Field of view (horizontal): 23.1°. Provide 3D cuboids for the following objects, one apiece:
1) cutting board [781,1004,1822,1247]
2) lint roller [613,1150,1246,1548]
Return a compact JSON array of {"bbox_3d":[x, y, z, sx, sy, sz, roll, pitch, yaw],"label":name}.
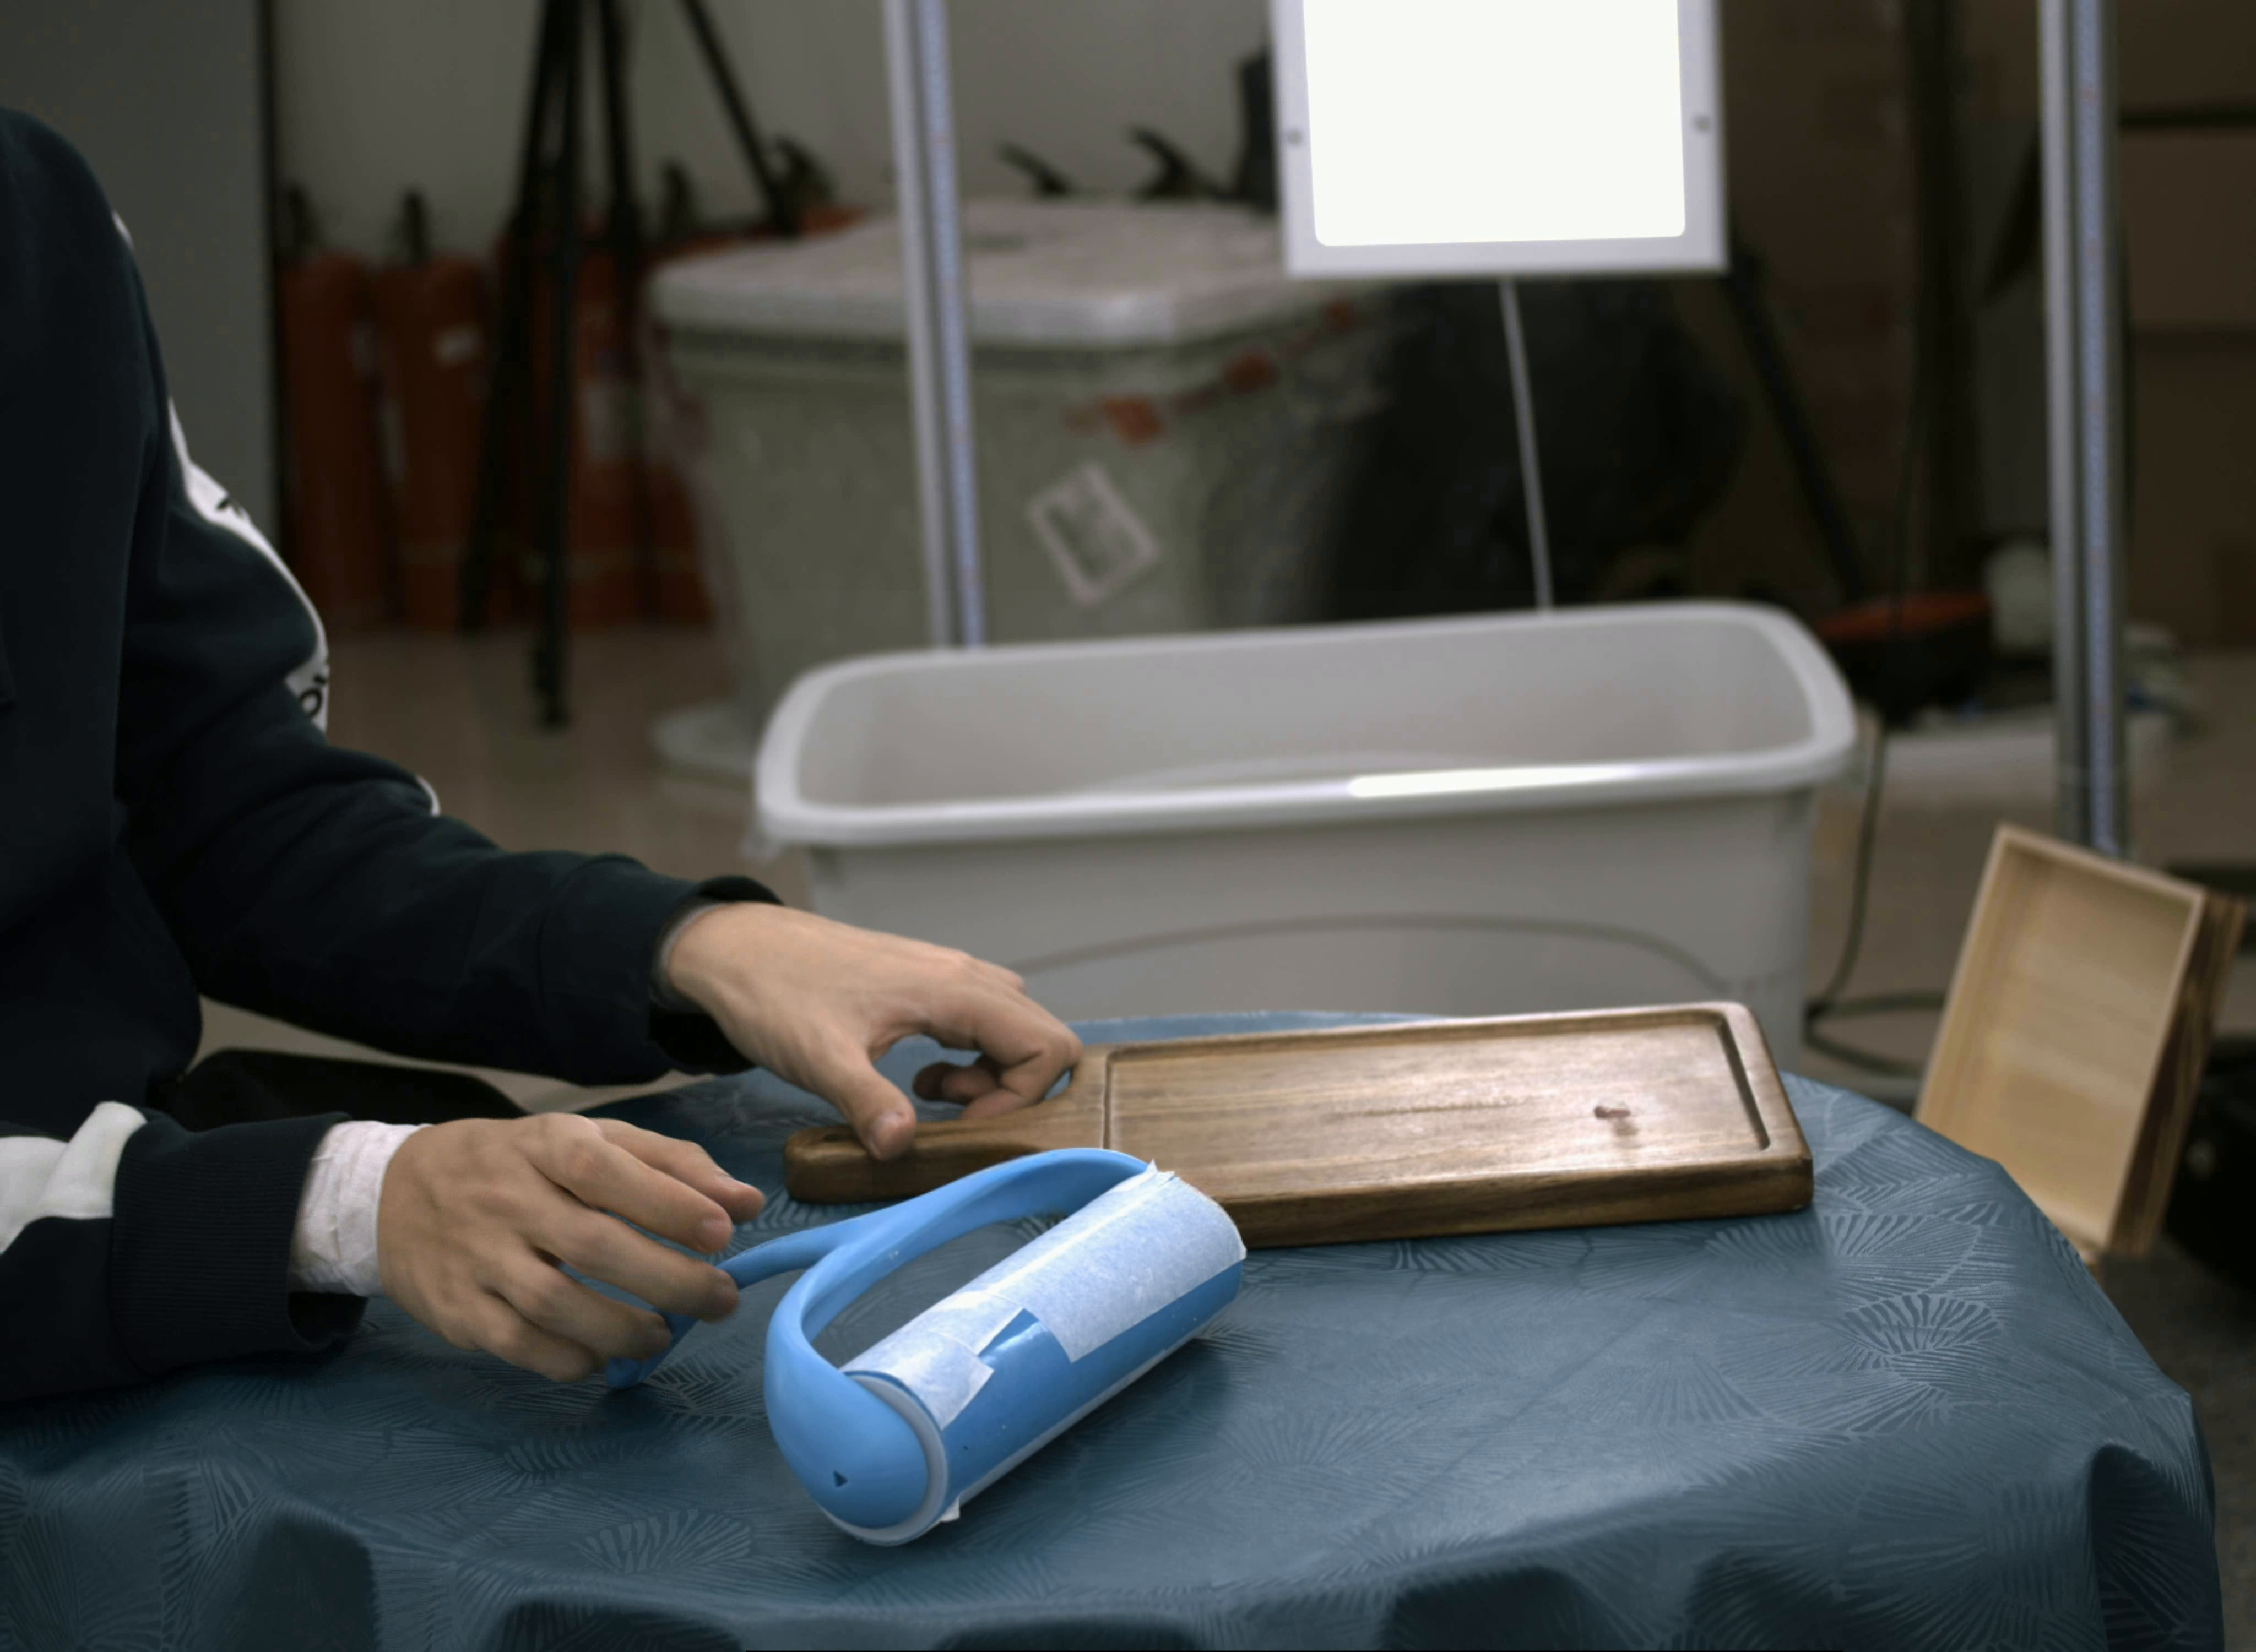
[{"bbox_3d":[0.055,0.107,1.910,0.352,0.023,0.200,-4,13,3],"label":"cutting board"},{"bbox_3d":[-0.082,0.154,1.691,0.183,0.068,0.224,3,18,26],"label":"lint roller"}]
